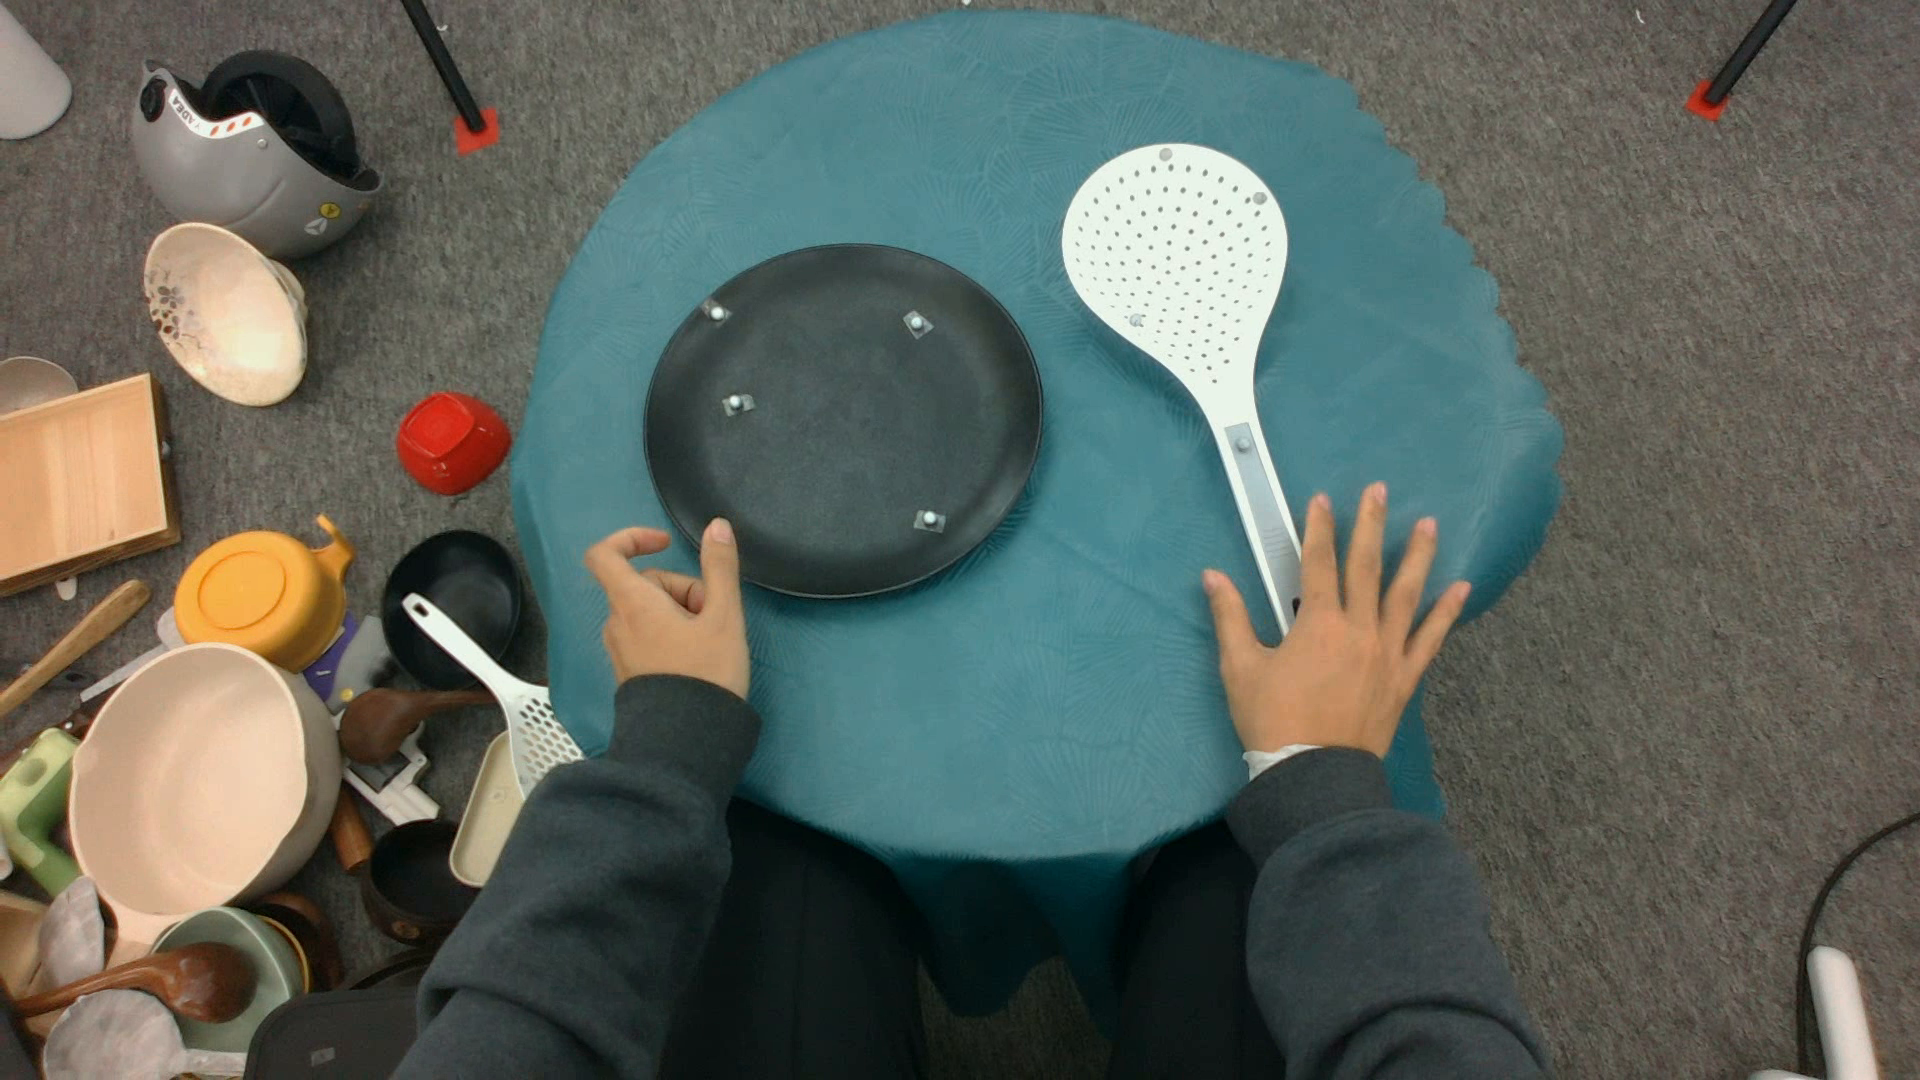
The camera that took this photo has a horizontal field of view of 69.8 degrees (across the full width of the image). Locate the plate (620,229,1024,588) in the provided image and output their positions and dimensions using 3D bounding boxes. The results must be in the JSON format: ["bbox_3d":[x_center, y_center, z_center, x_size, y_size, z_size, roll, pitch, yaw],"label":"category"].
[{"bbox_3d":[-0.082,-0.083,0.836,0.244,0.023,0.245,-1,67,1],"label":"plate"}]

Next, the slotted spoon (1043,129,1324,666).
[{"bbox_3d":[0.148,-0.092,0.821,0.136,0.045,0.350,-15,68,-2],"label":"slotted spoon"}]
